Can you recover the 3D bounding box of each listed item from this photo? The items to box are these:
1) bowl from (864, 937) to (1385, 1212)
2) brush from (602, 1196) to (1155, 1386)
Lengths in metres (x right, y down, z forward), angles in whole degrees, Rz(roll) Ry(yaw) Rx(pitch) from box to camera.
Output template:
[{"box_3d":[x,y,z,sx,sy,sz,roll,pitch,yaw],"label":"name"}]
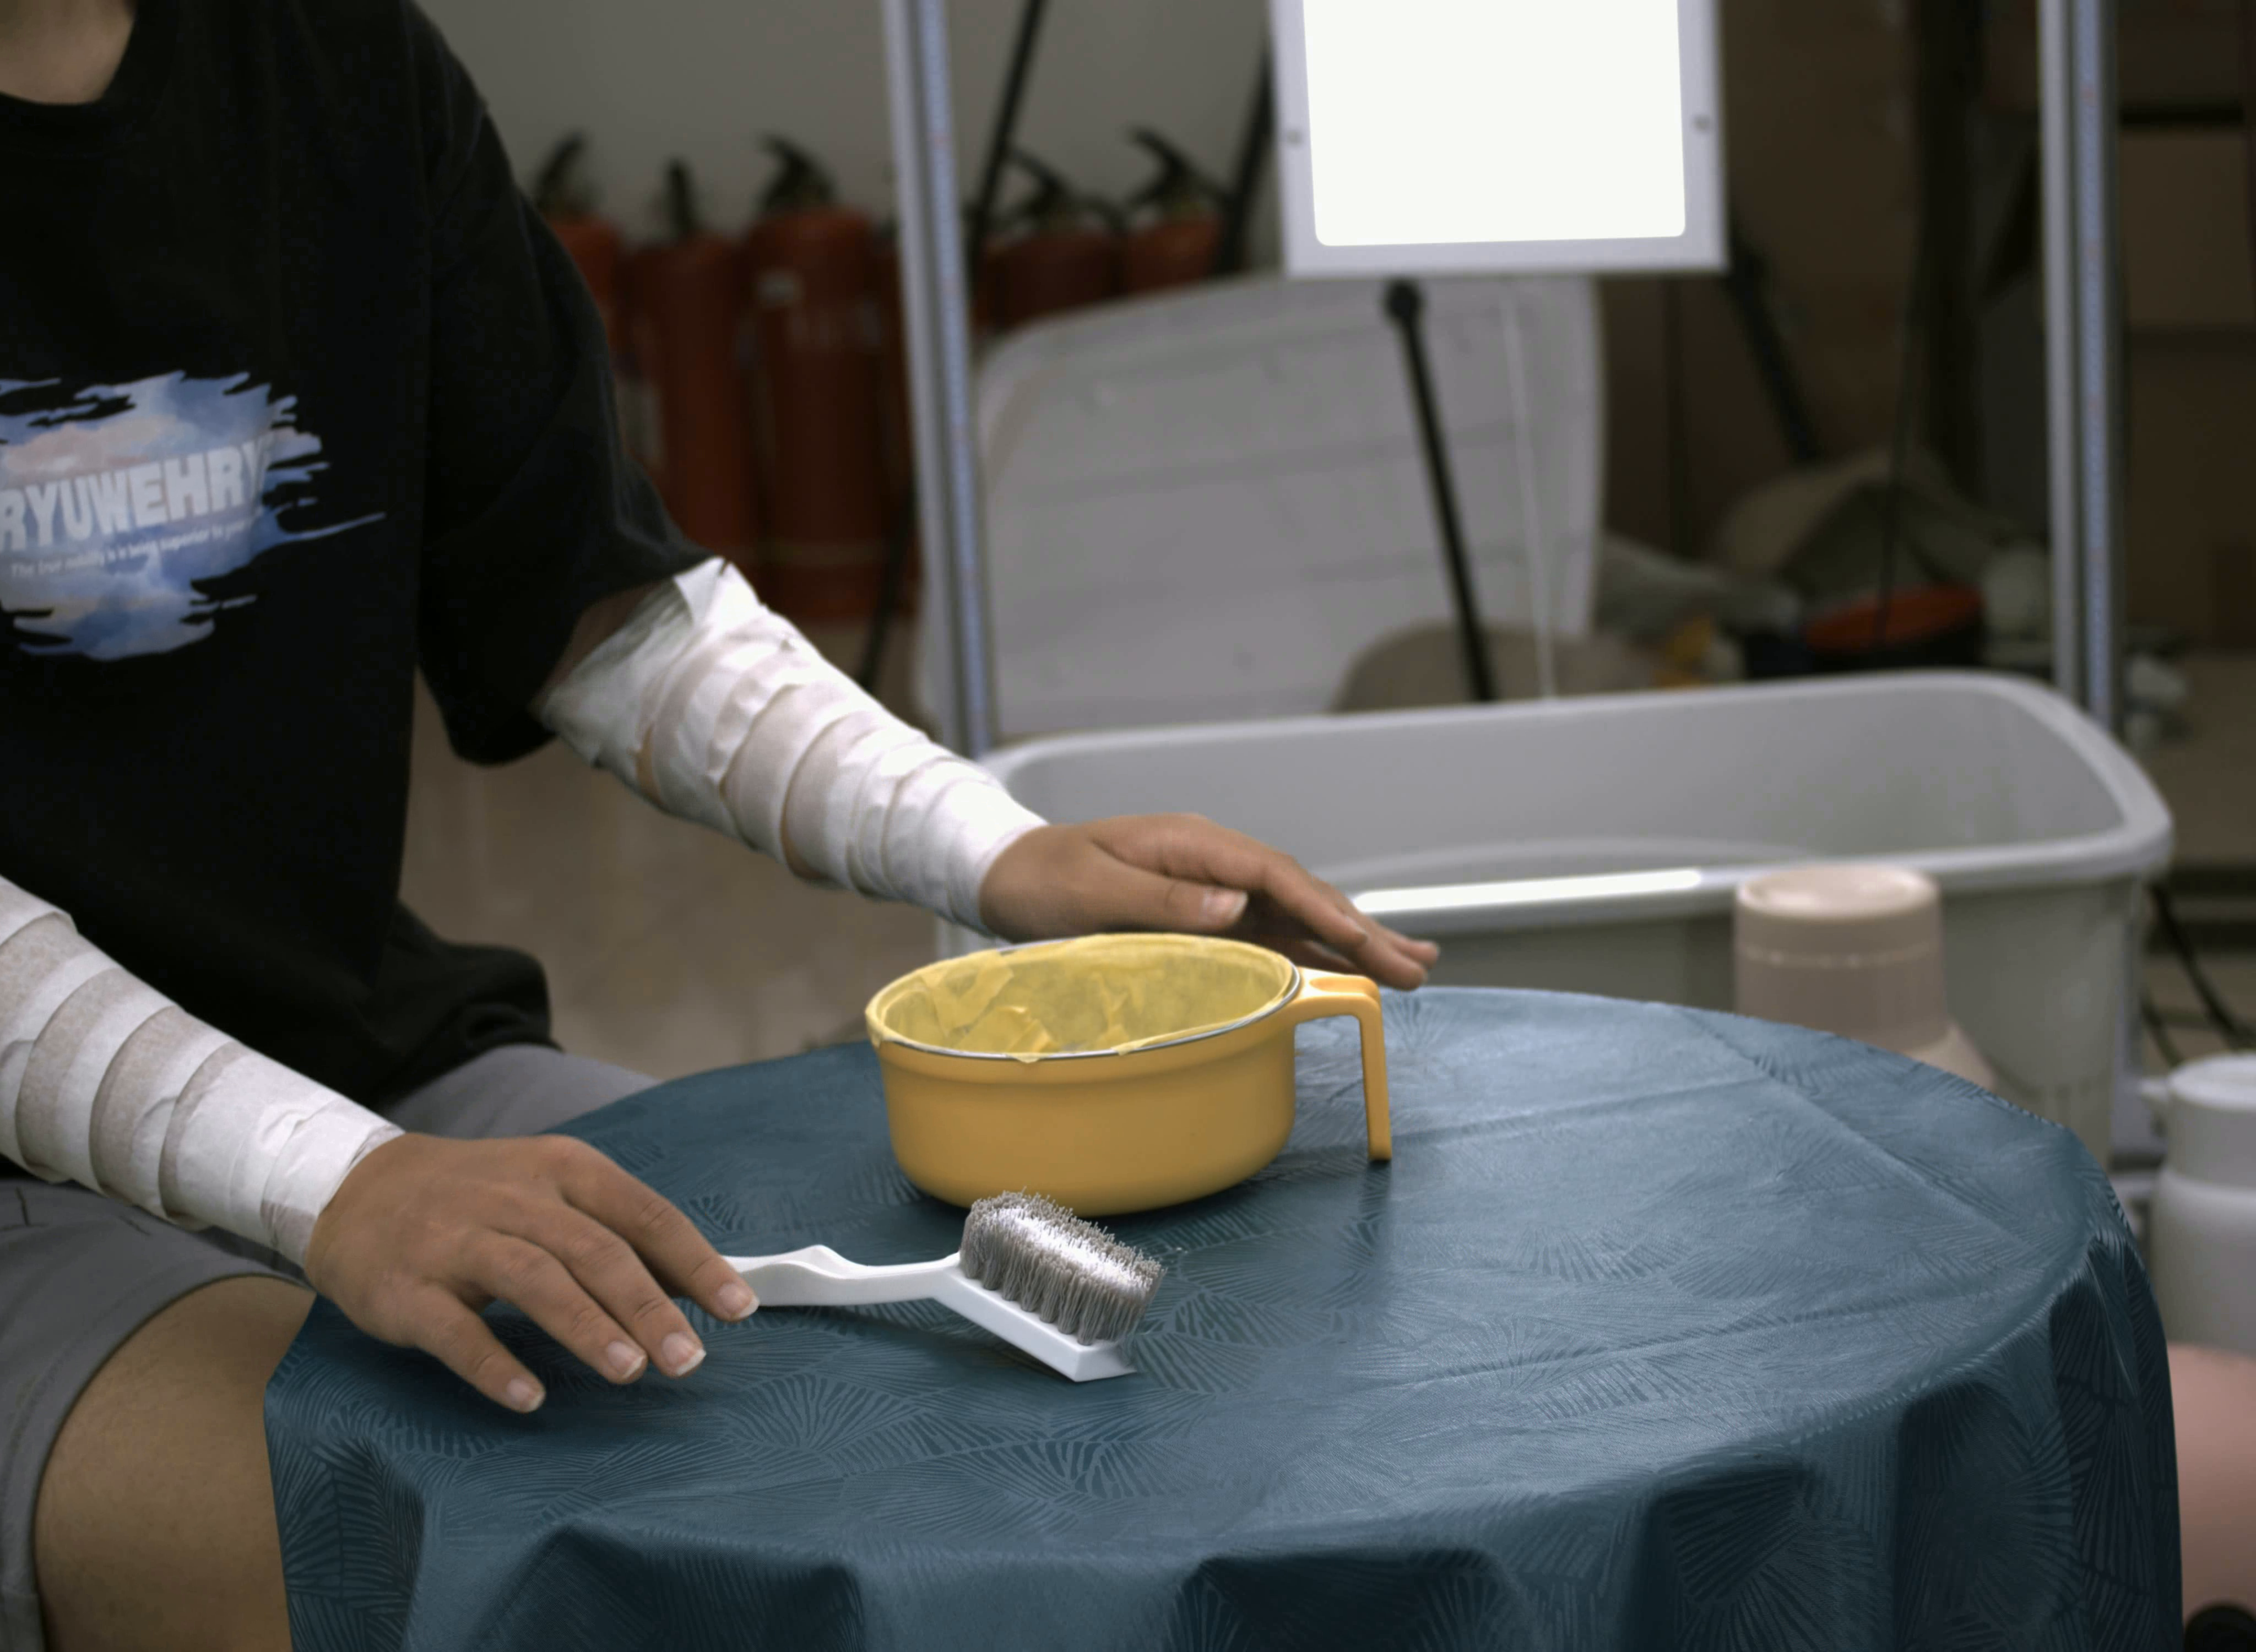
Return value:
[{"box_3d":[0.000,0.087,1.912,0.179,0.074,0.152,-4,9,2],"label":"bowl"},{"box_3d":[-0.087,0.136,1.788,0.249,0.050,0.033,9,21,44],"label":"brush"}]
